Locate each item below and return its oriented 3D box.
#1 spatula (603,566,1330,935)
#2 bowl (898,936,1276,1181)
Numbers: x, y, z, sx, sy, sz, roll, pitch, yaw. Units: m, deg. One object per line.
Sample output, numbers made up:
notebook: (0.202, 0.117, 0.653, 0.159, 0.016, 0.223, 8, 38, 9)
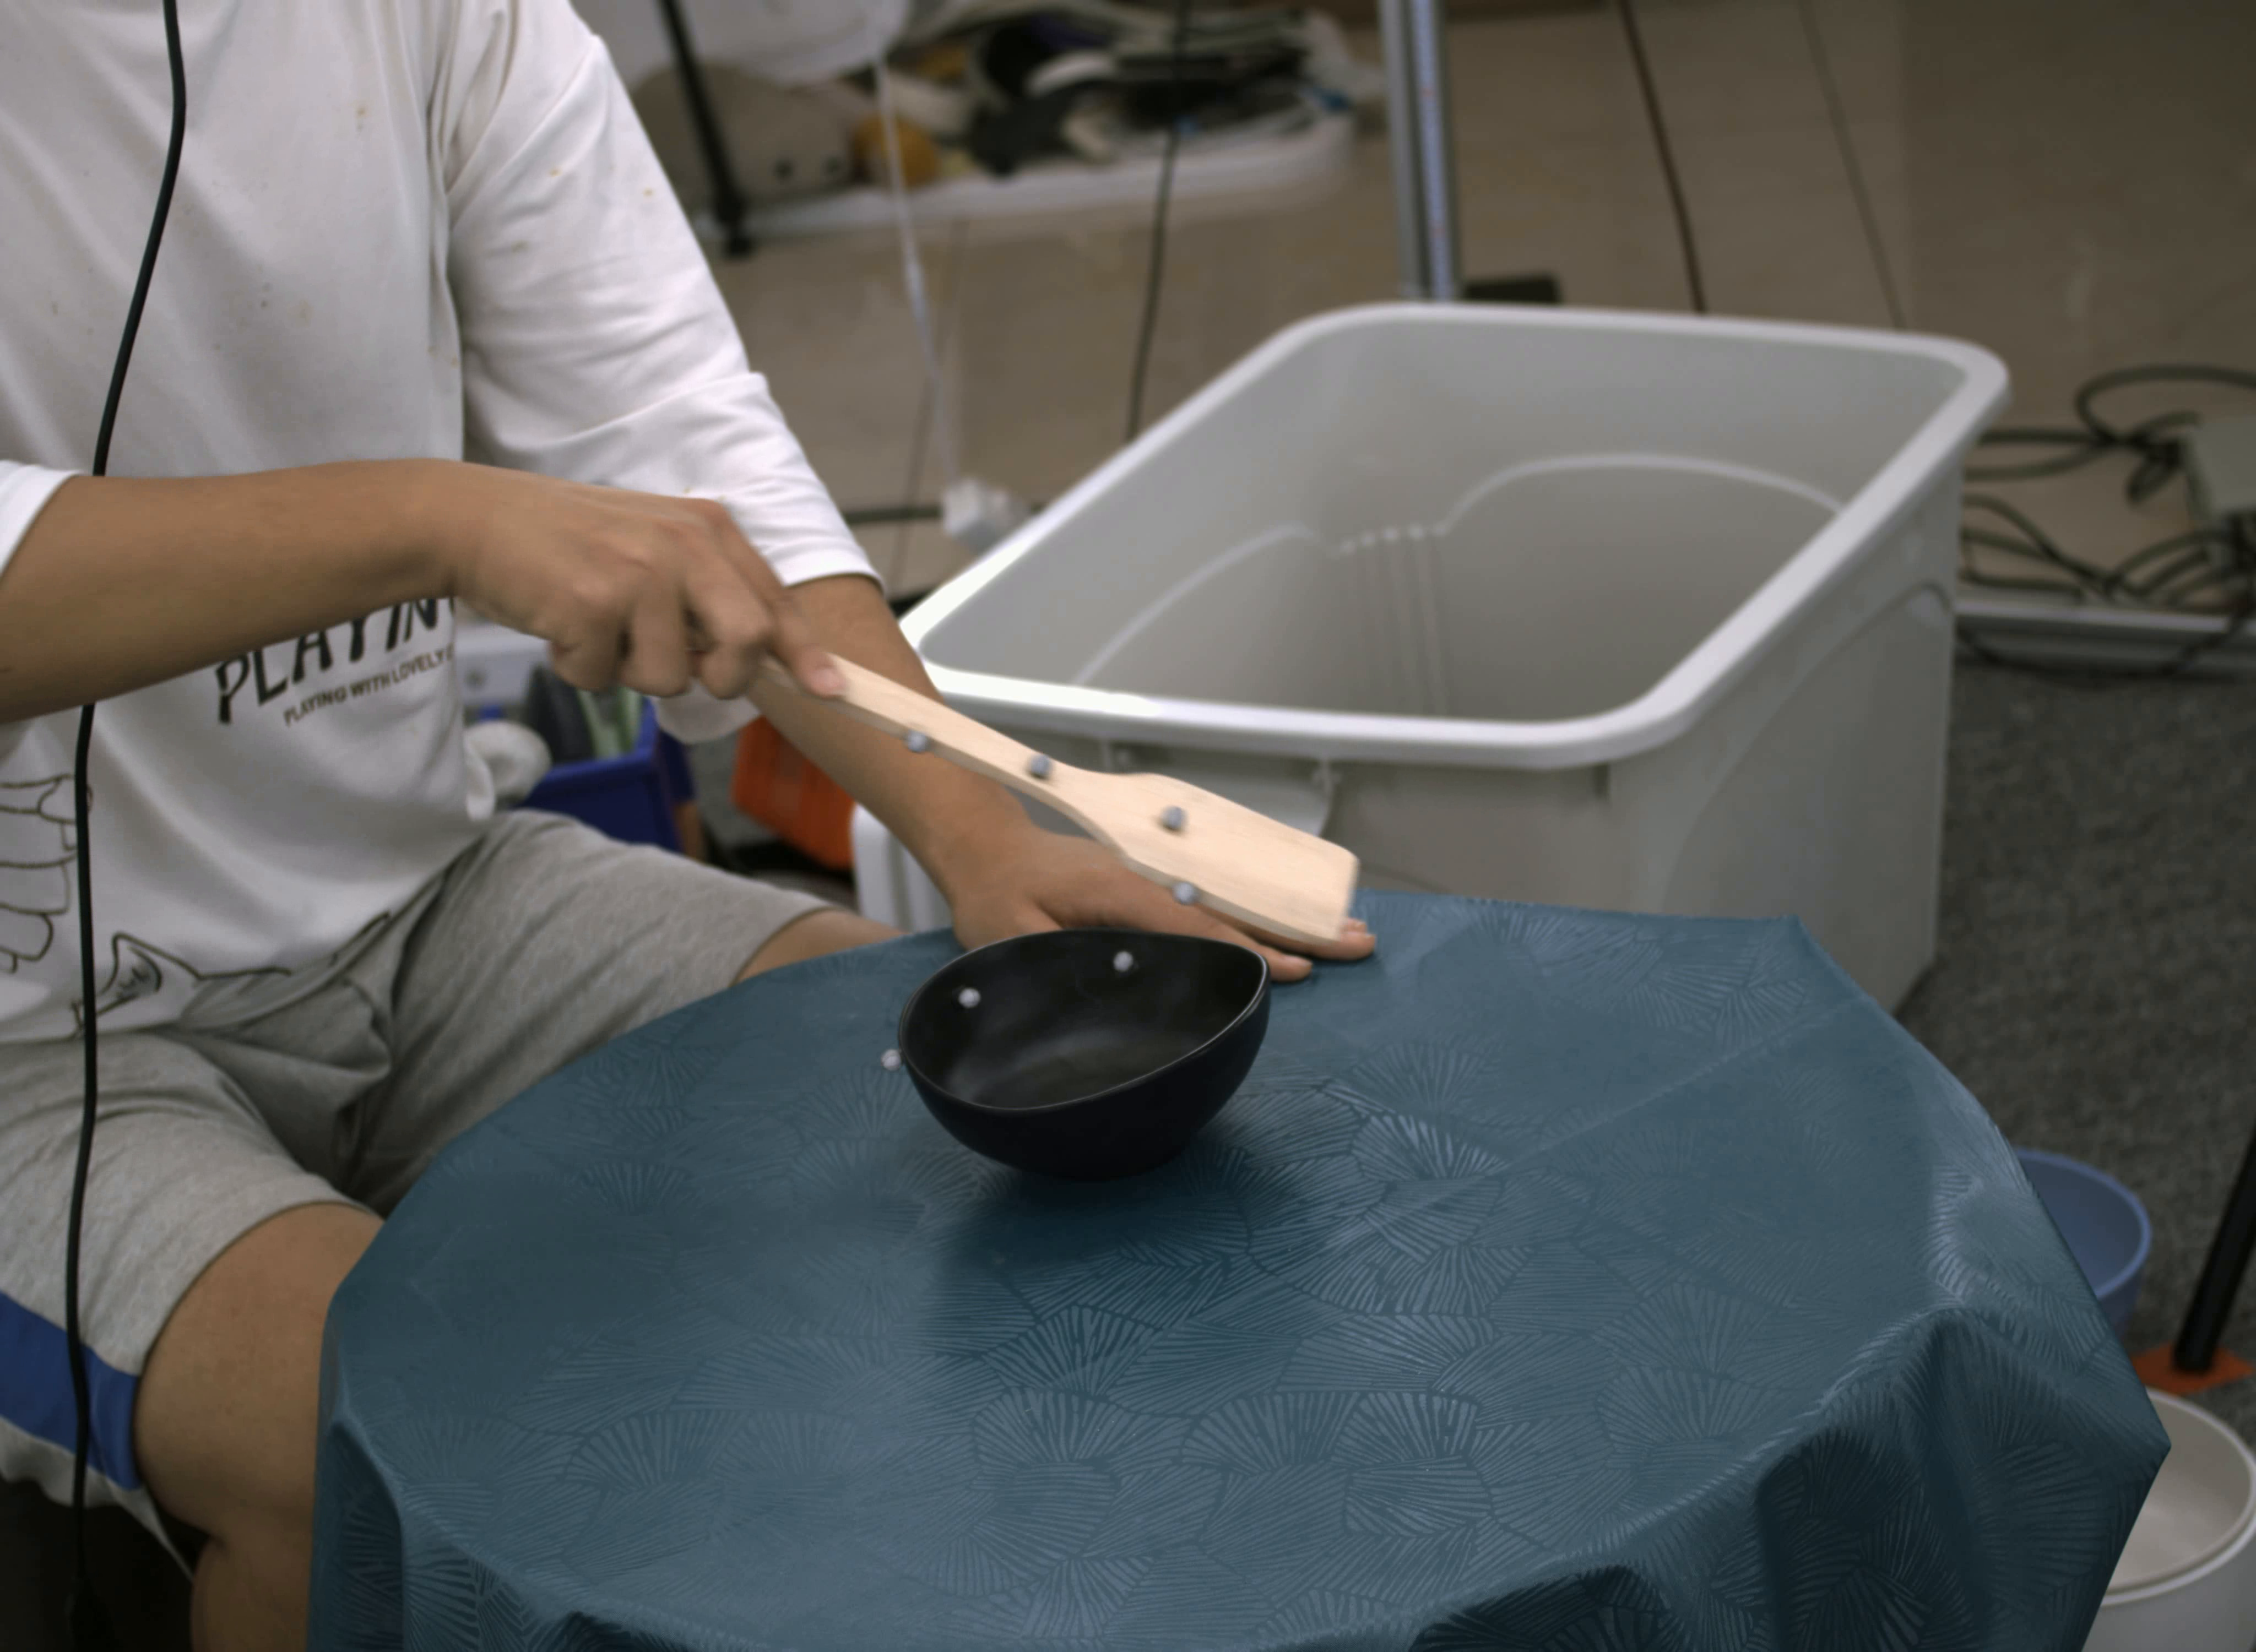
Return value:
spatula: (-0.061, -0.032, 2.112, 0.293, 0.011, 0.071, 24, 31, -5)
bowl: (-0.013, 0.093, 2.174, 0.137, 0.068, 0.168, 7, 27, 26)
